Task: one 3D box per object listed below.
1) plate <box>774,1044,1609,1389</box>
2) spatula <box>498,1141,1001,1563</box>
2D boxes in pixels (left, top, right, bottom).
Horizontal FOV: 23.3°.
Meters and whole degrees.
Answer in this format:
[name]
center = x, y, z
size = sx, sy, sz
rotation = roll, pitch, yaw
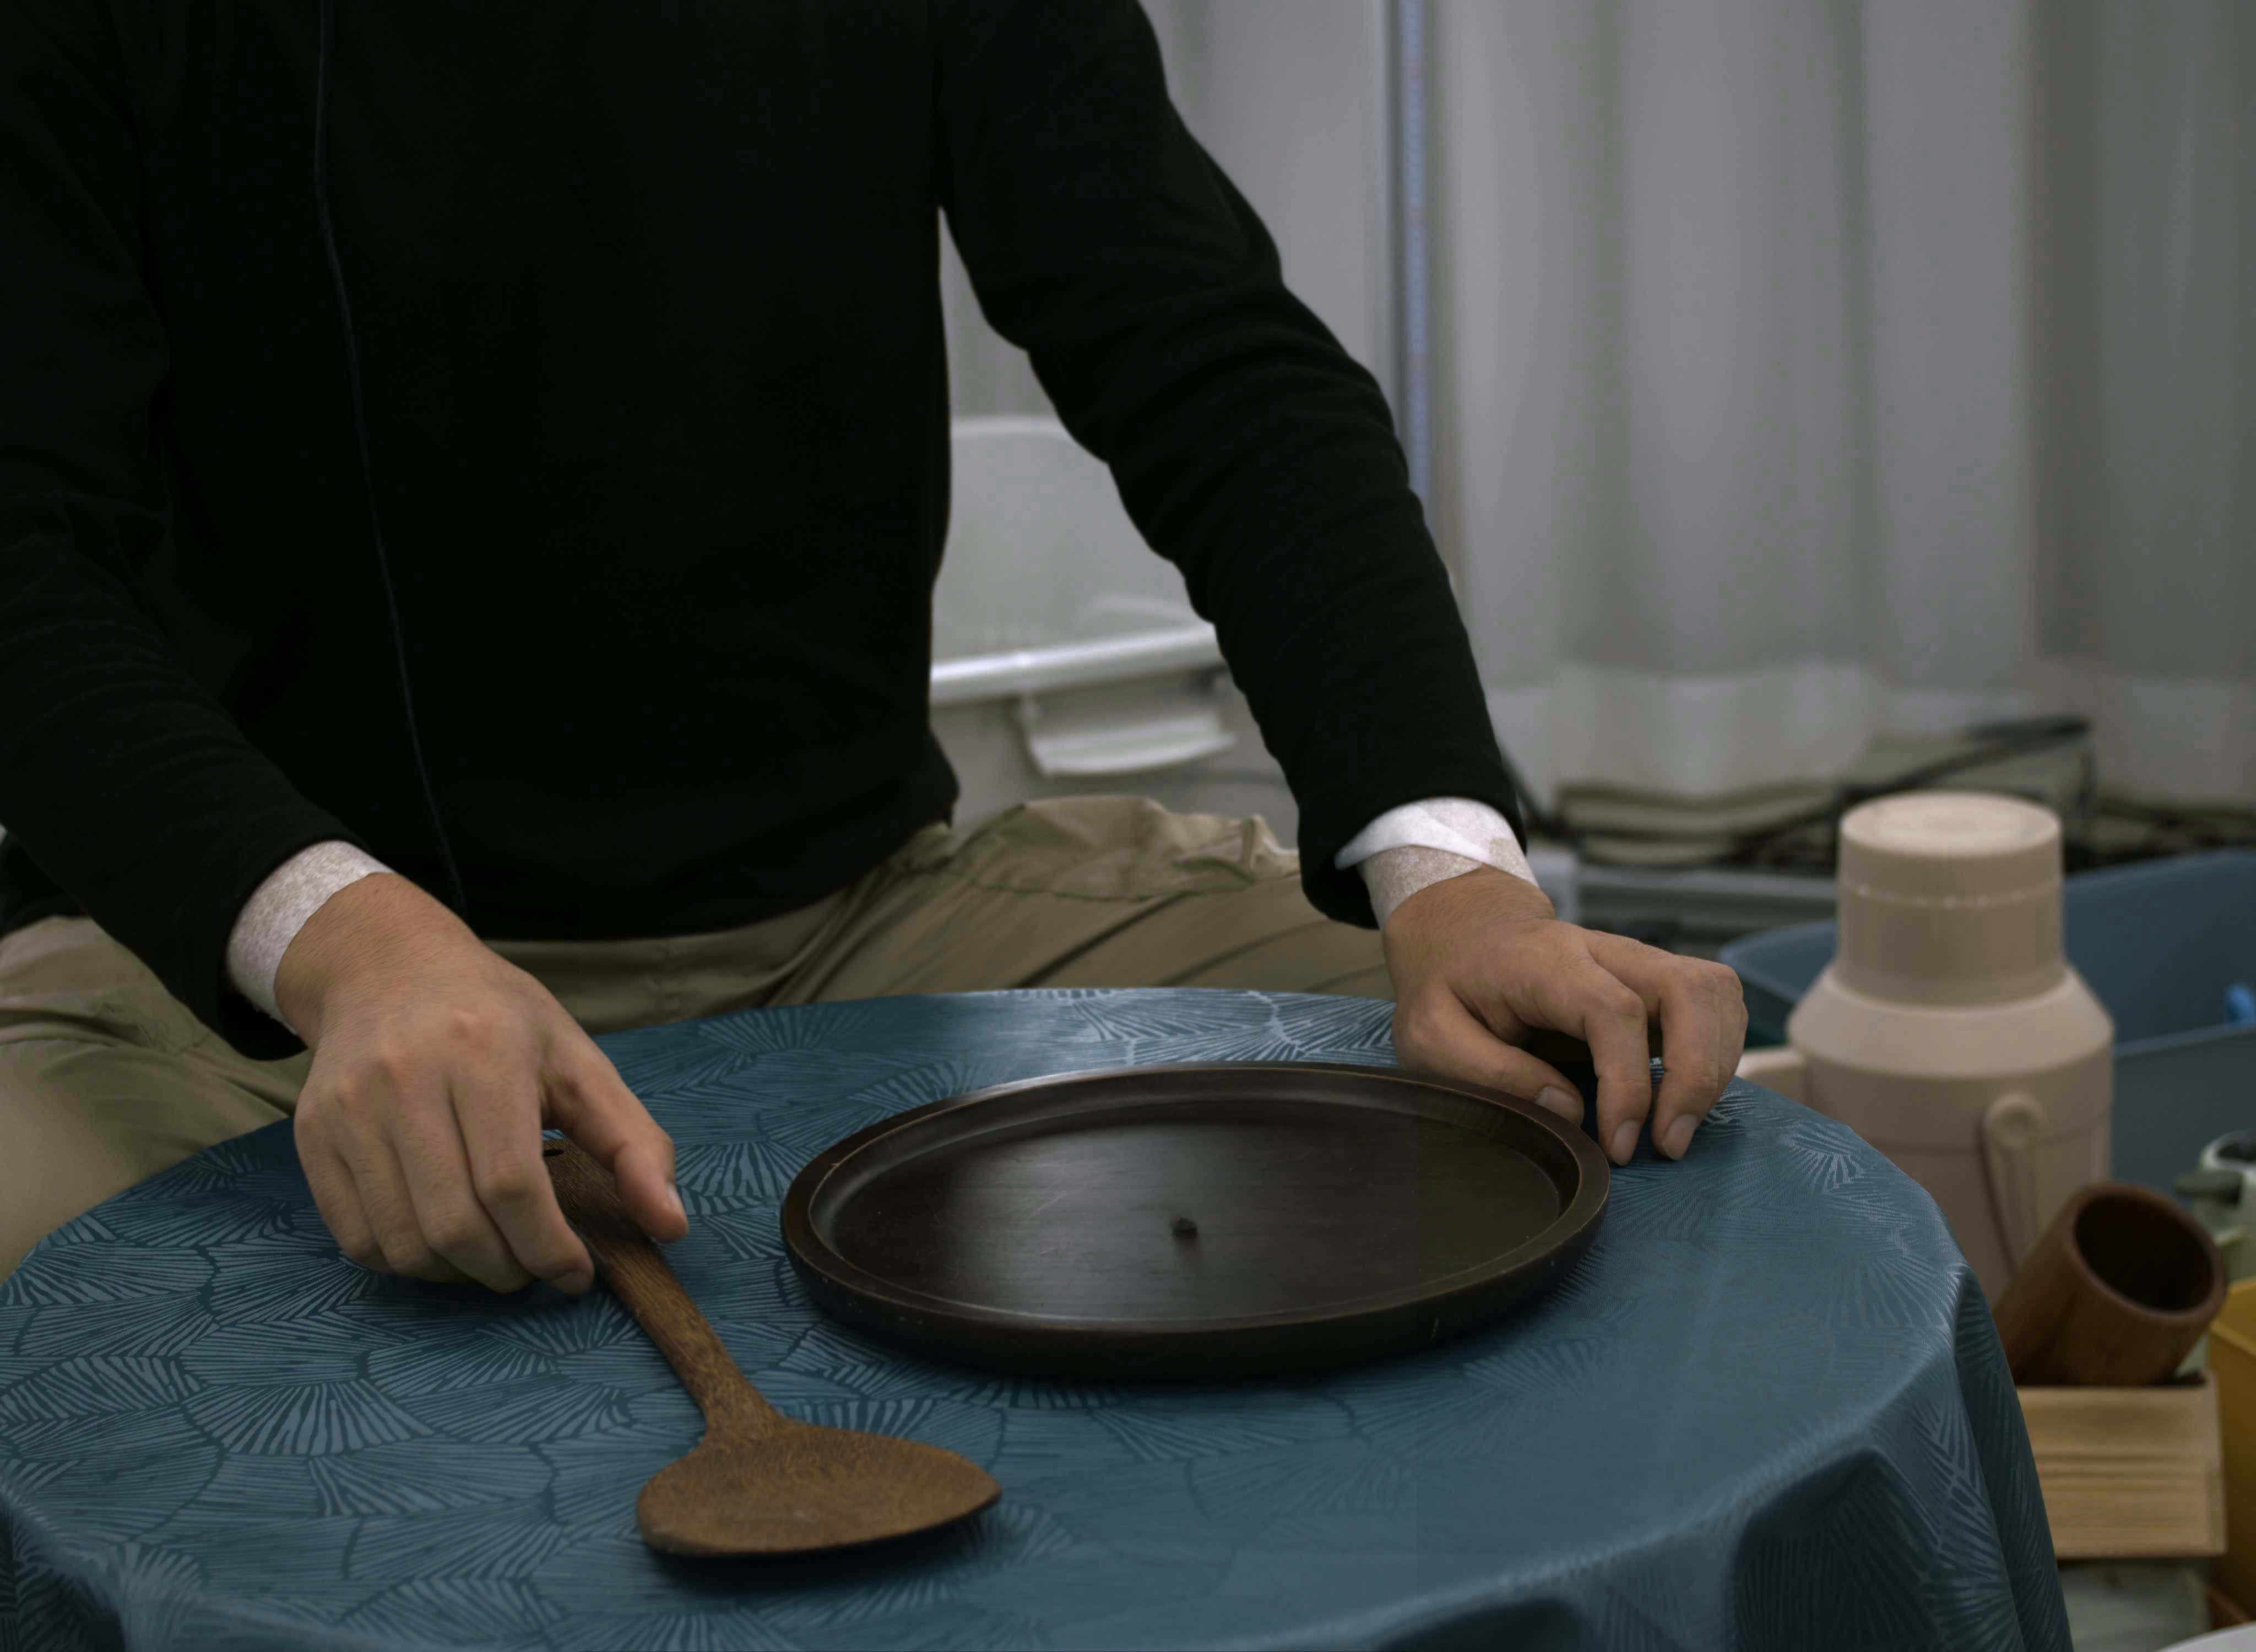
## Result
[plate]
center = 0.020, 0.118, 1.651
size = 0.254, 0.029, 0.256
rotation = -4, 15, 1
[spatula]
center = -0.132, 0.146, 1.592
size = 0.095, 0.016, 0.389
rotation = -7, 15, -17
